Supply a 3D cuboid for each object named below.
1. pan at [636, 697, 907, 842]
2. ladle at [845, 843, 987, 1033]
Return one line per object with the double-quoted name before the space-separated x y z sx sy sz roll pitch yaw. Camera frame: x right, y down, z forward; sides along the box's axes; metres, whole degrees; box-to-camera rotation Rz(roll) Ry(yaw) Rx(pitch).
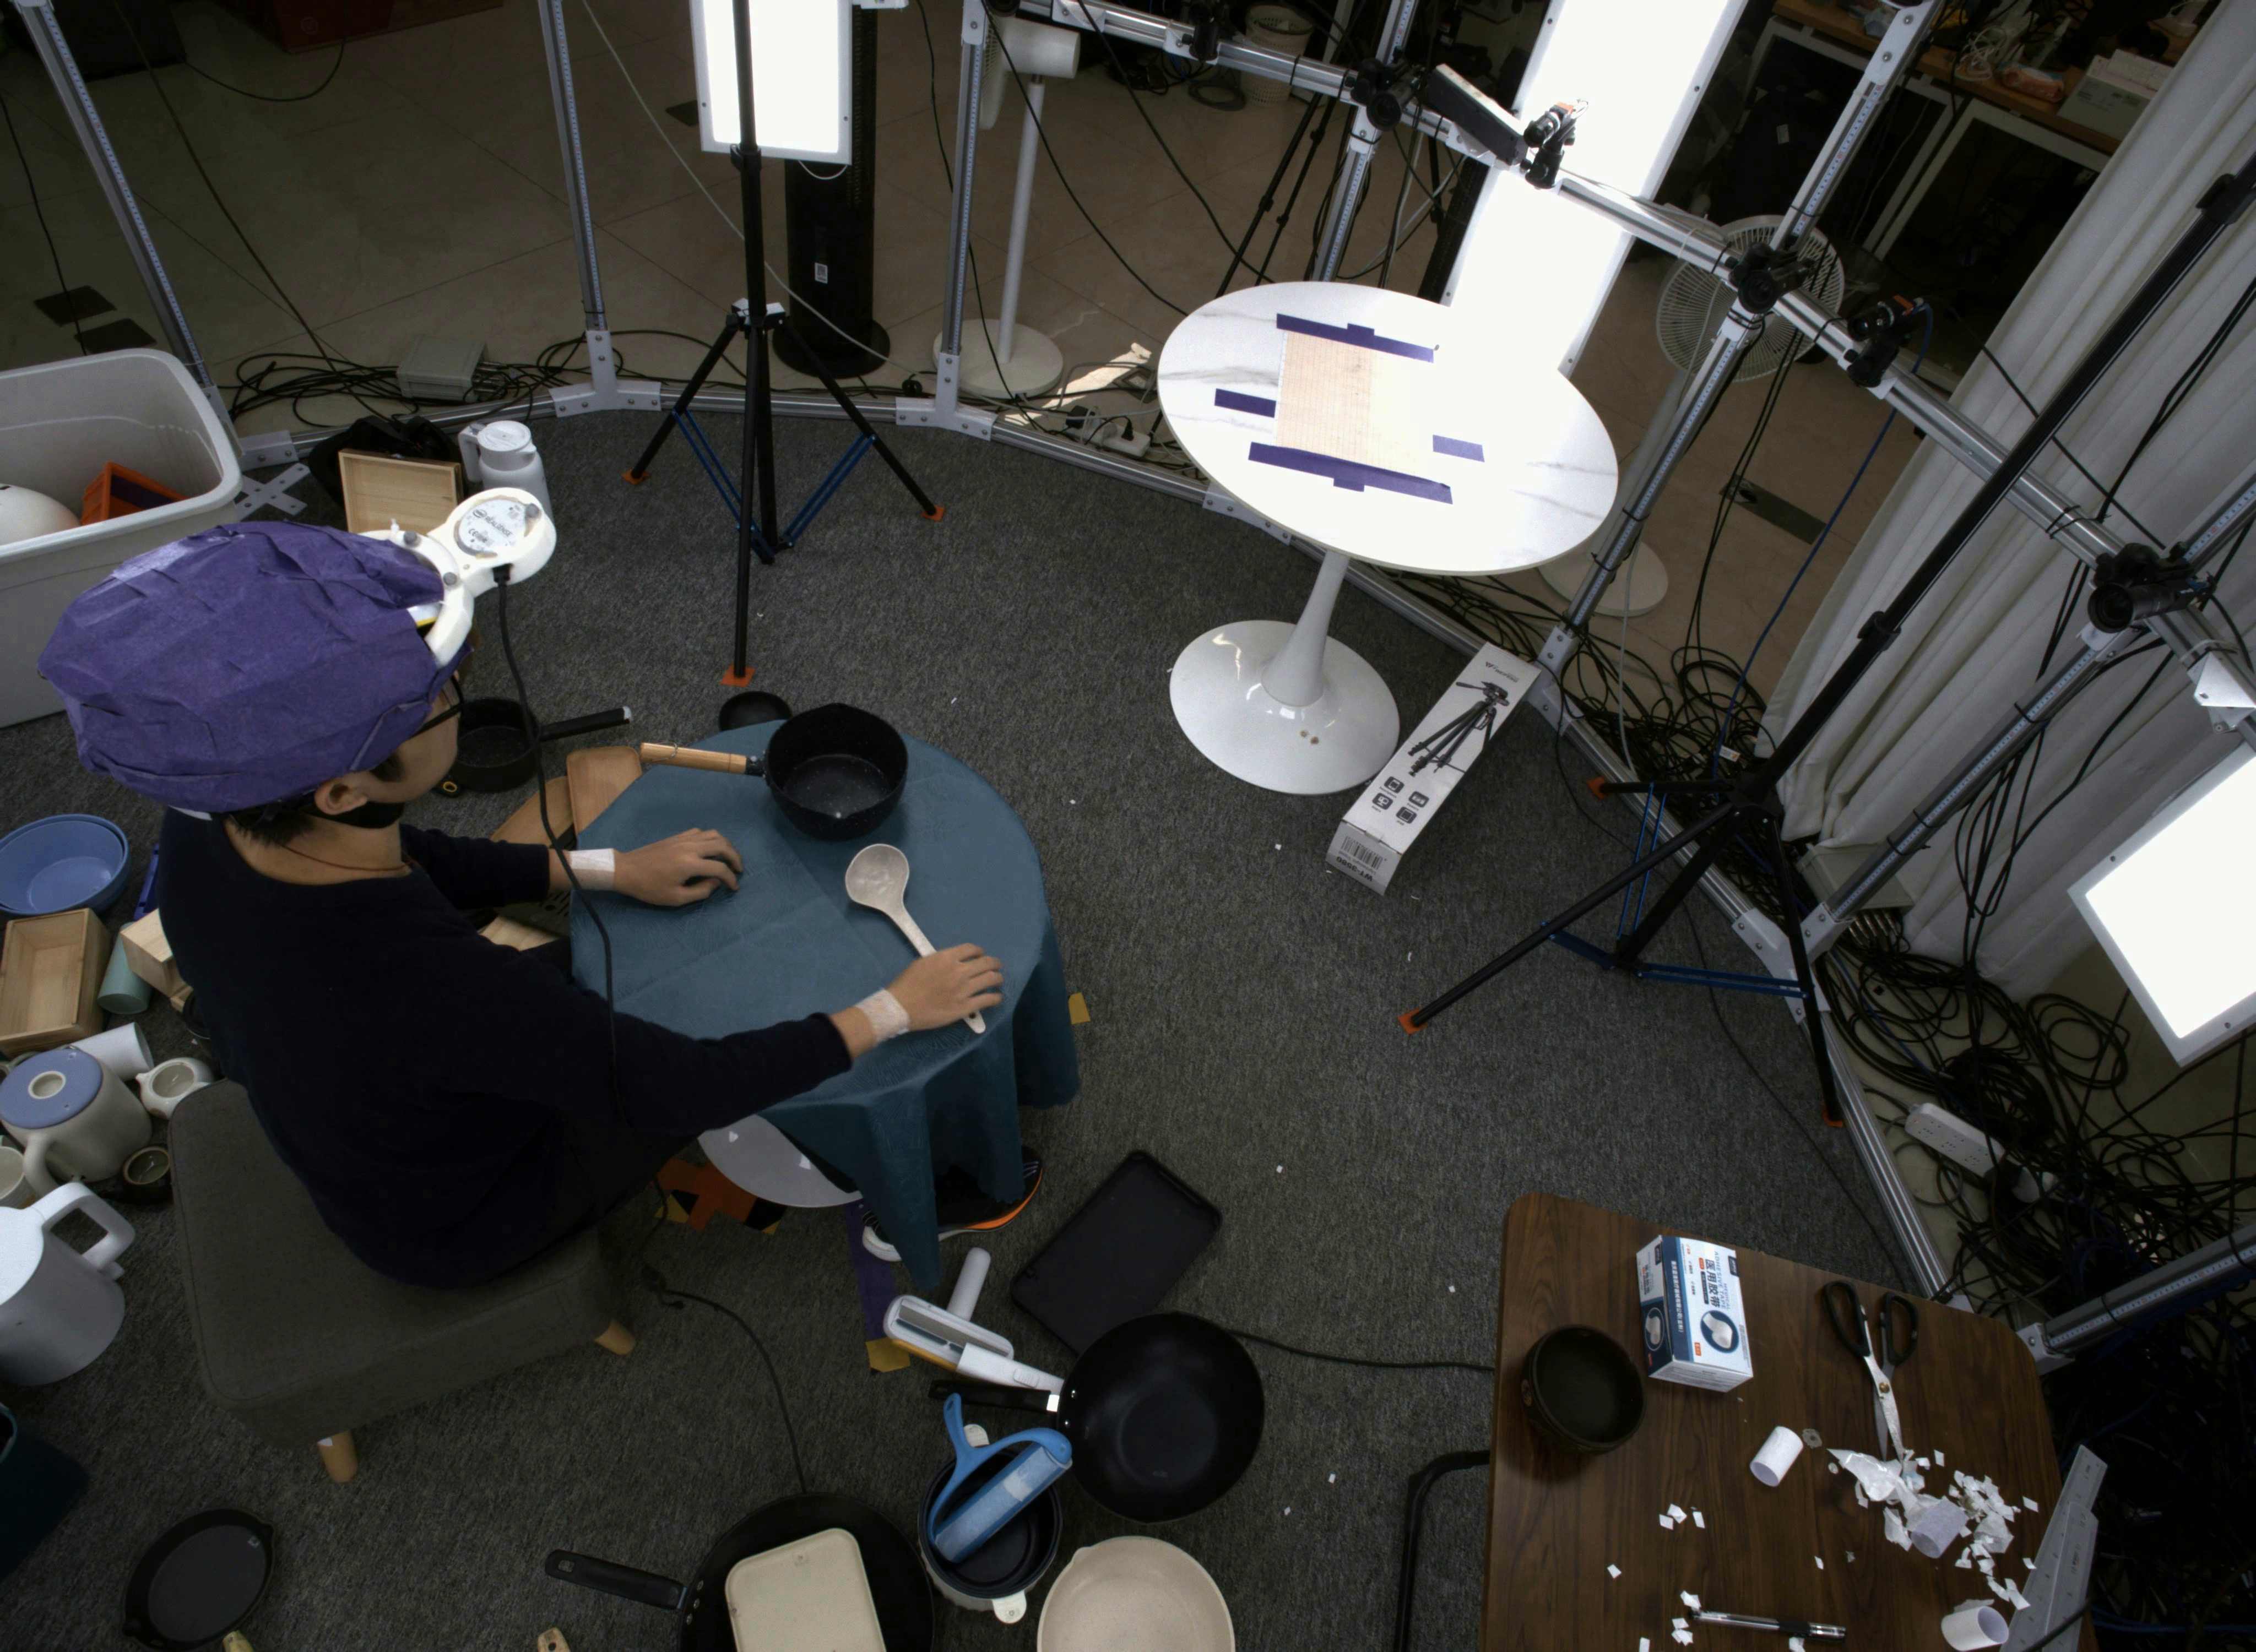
"pan" -0.462 -0.070 1.686 0.344 0.110 0.203 -1 55 -17
"ladle" -0.254 0.135 1.613 0.090 0.070 0.268 -26 63 -36
